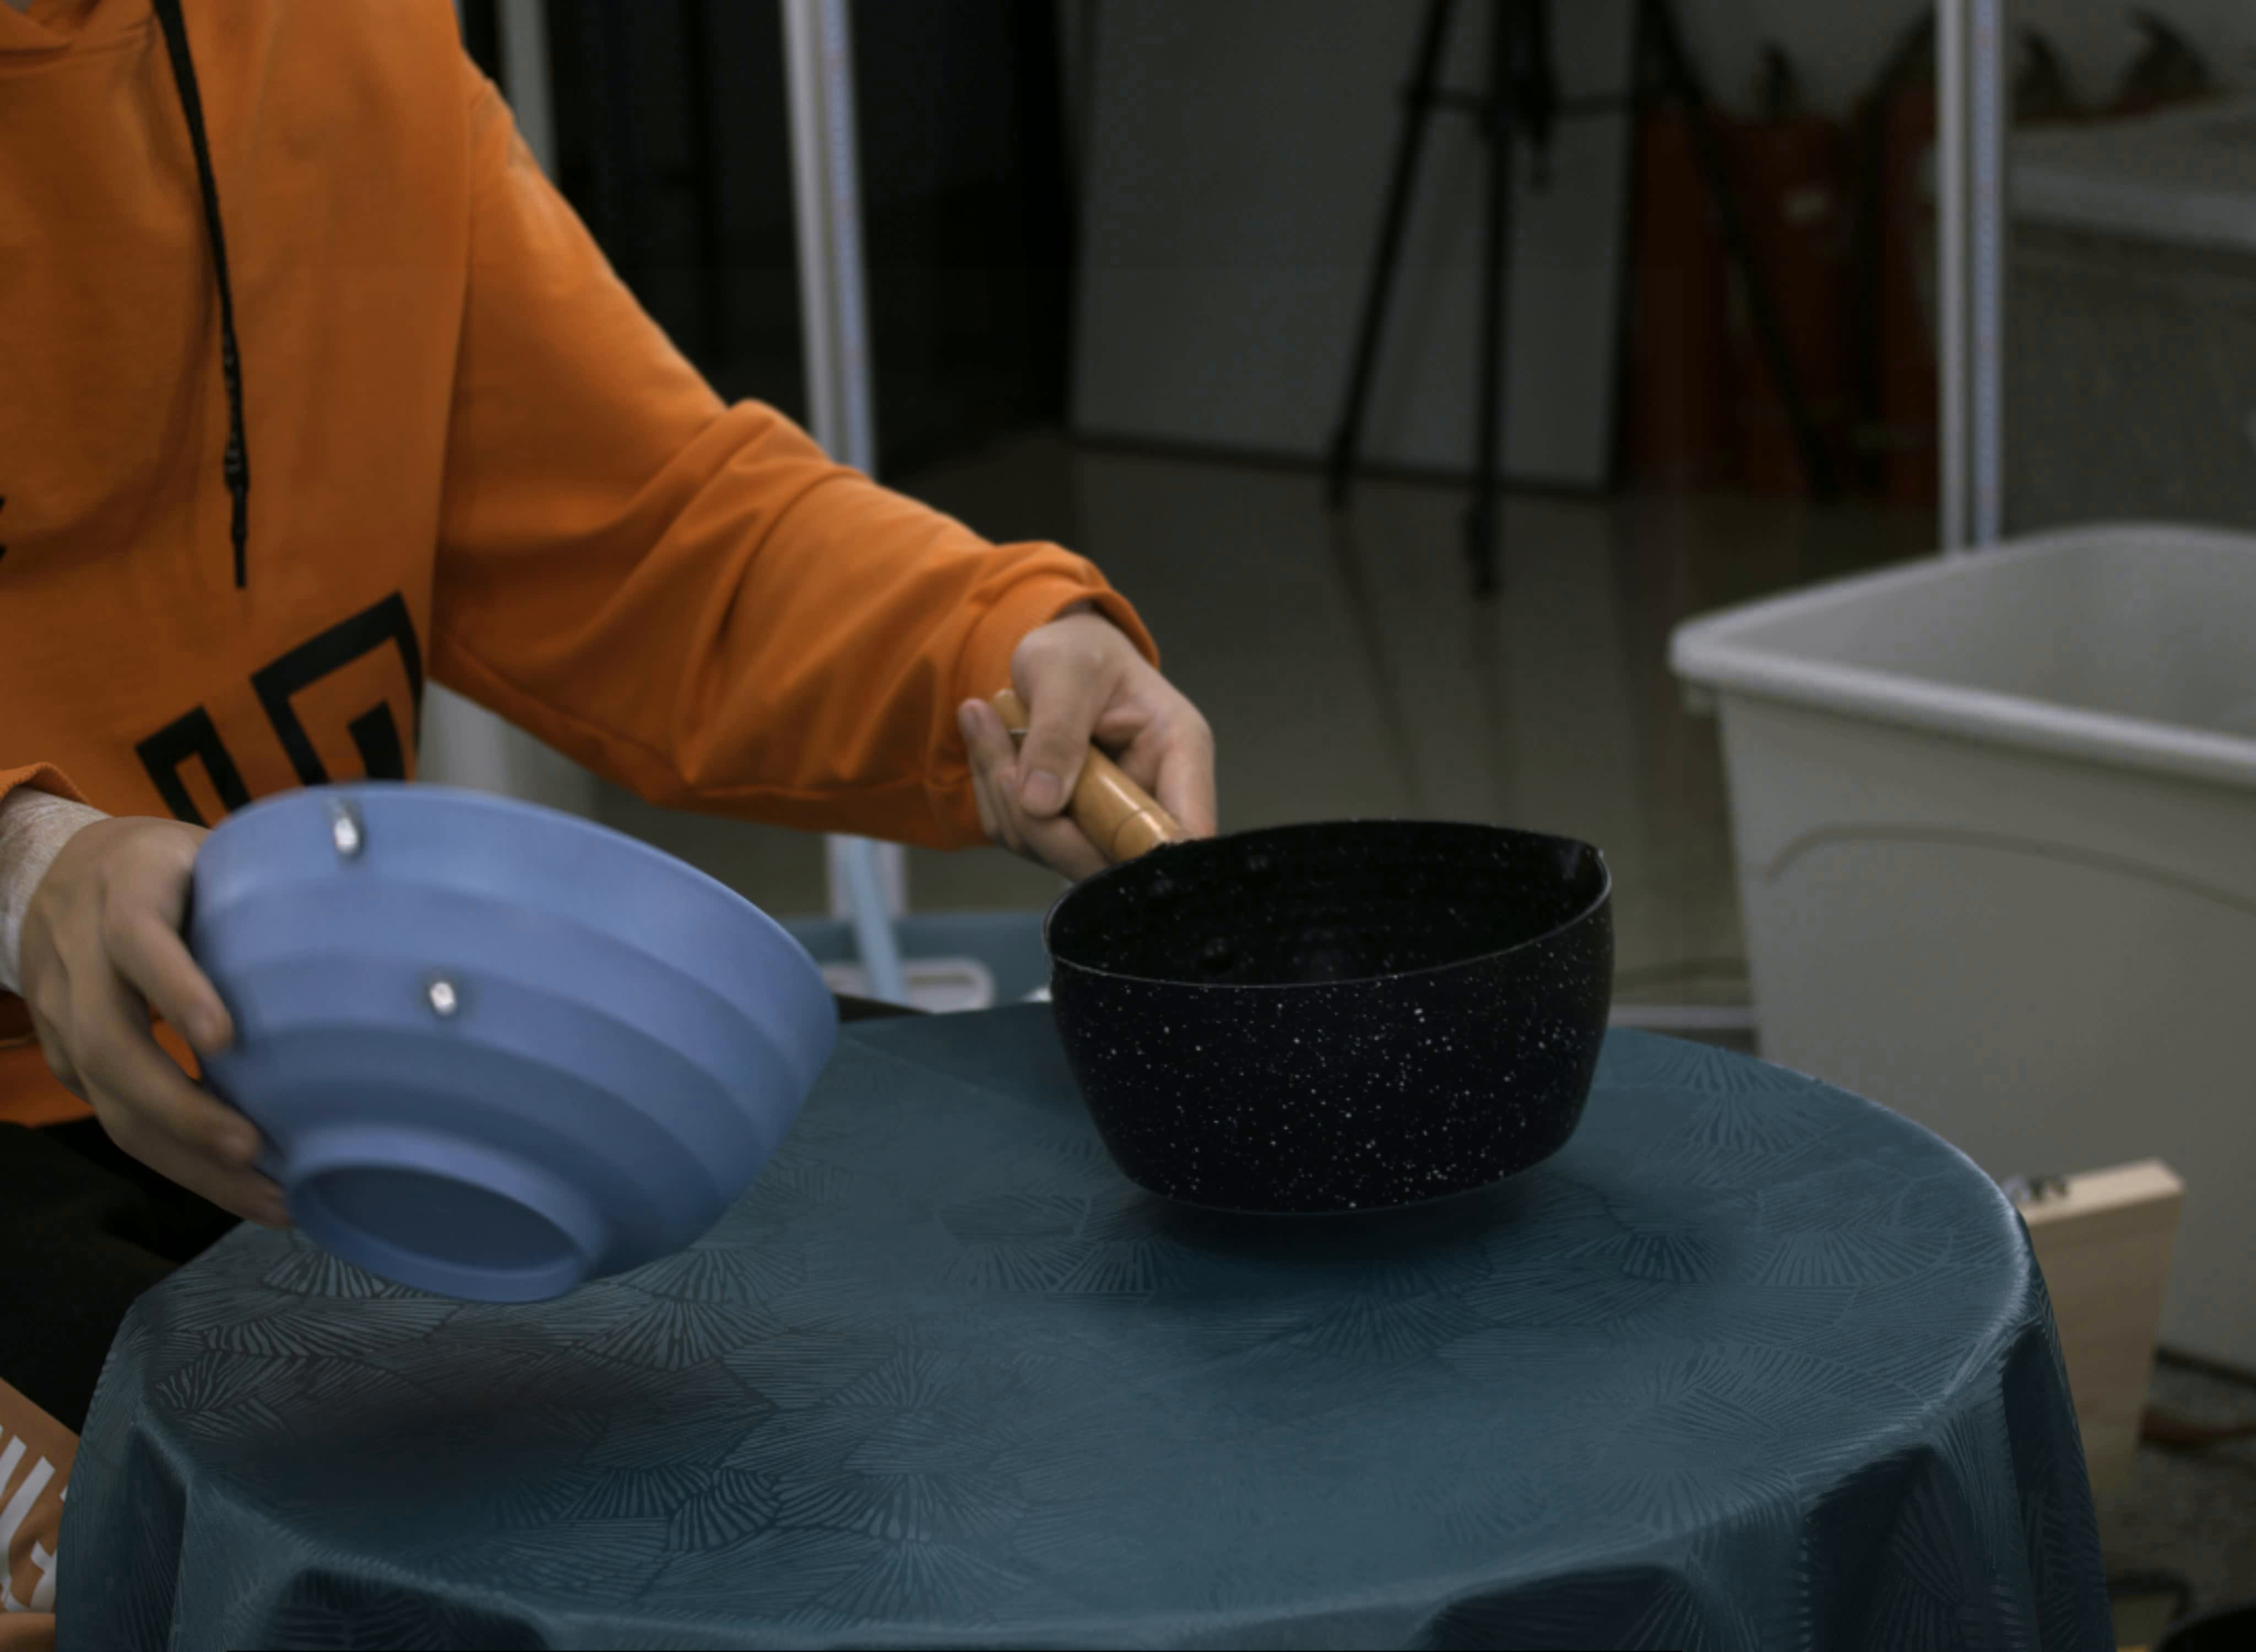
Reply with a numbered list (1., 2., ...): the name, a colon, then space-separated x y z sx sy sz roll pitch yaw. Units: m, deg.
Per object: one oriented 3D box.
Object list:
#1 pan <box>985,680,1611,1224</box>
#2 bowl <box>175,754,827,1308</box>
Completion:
1. pan: 0.031 0.035 1.804 0.203 0.109 0.346 -14 18 -23
2. bowl: -0.192 0.075 1.564 0.196 0.195 0.096 2 55 21
